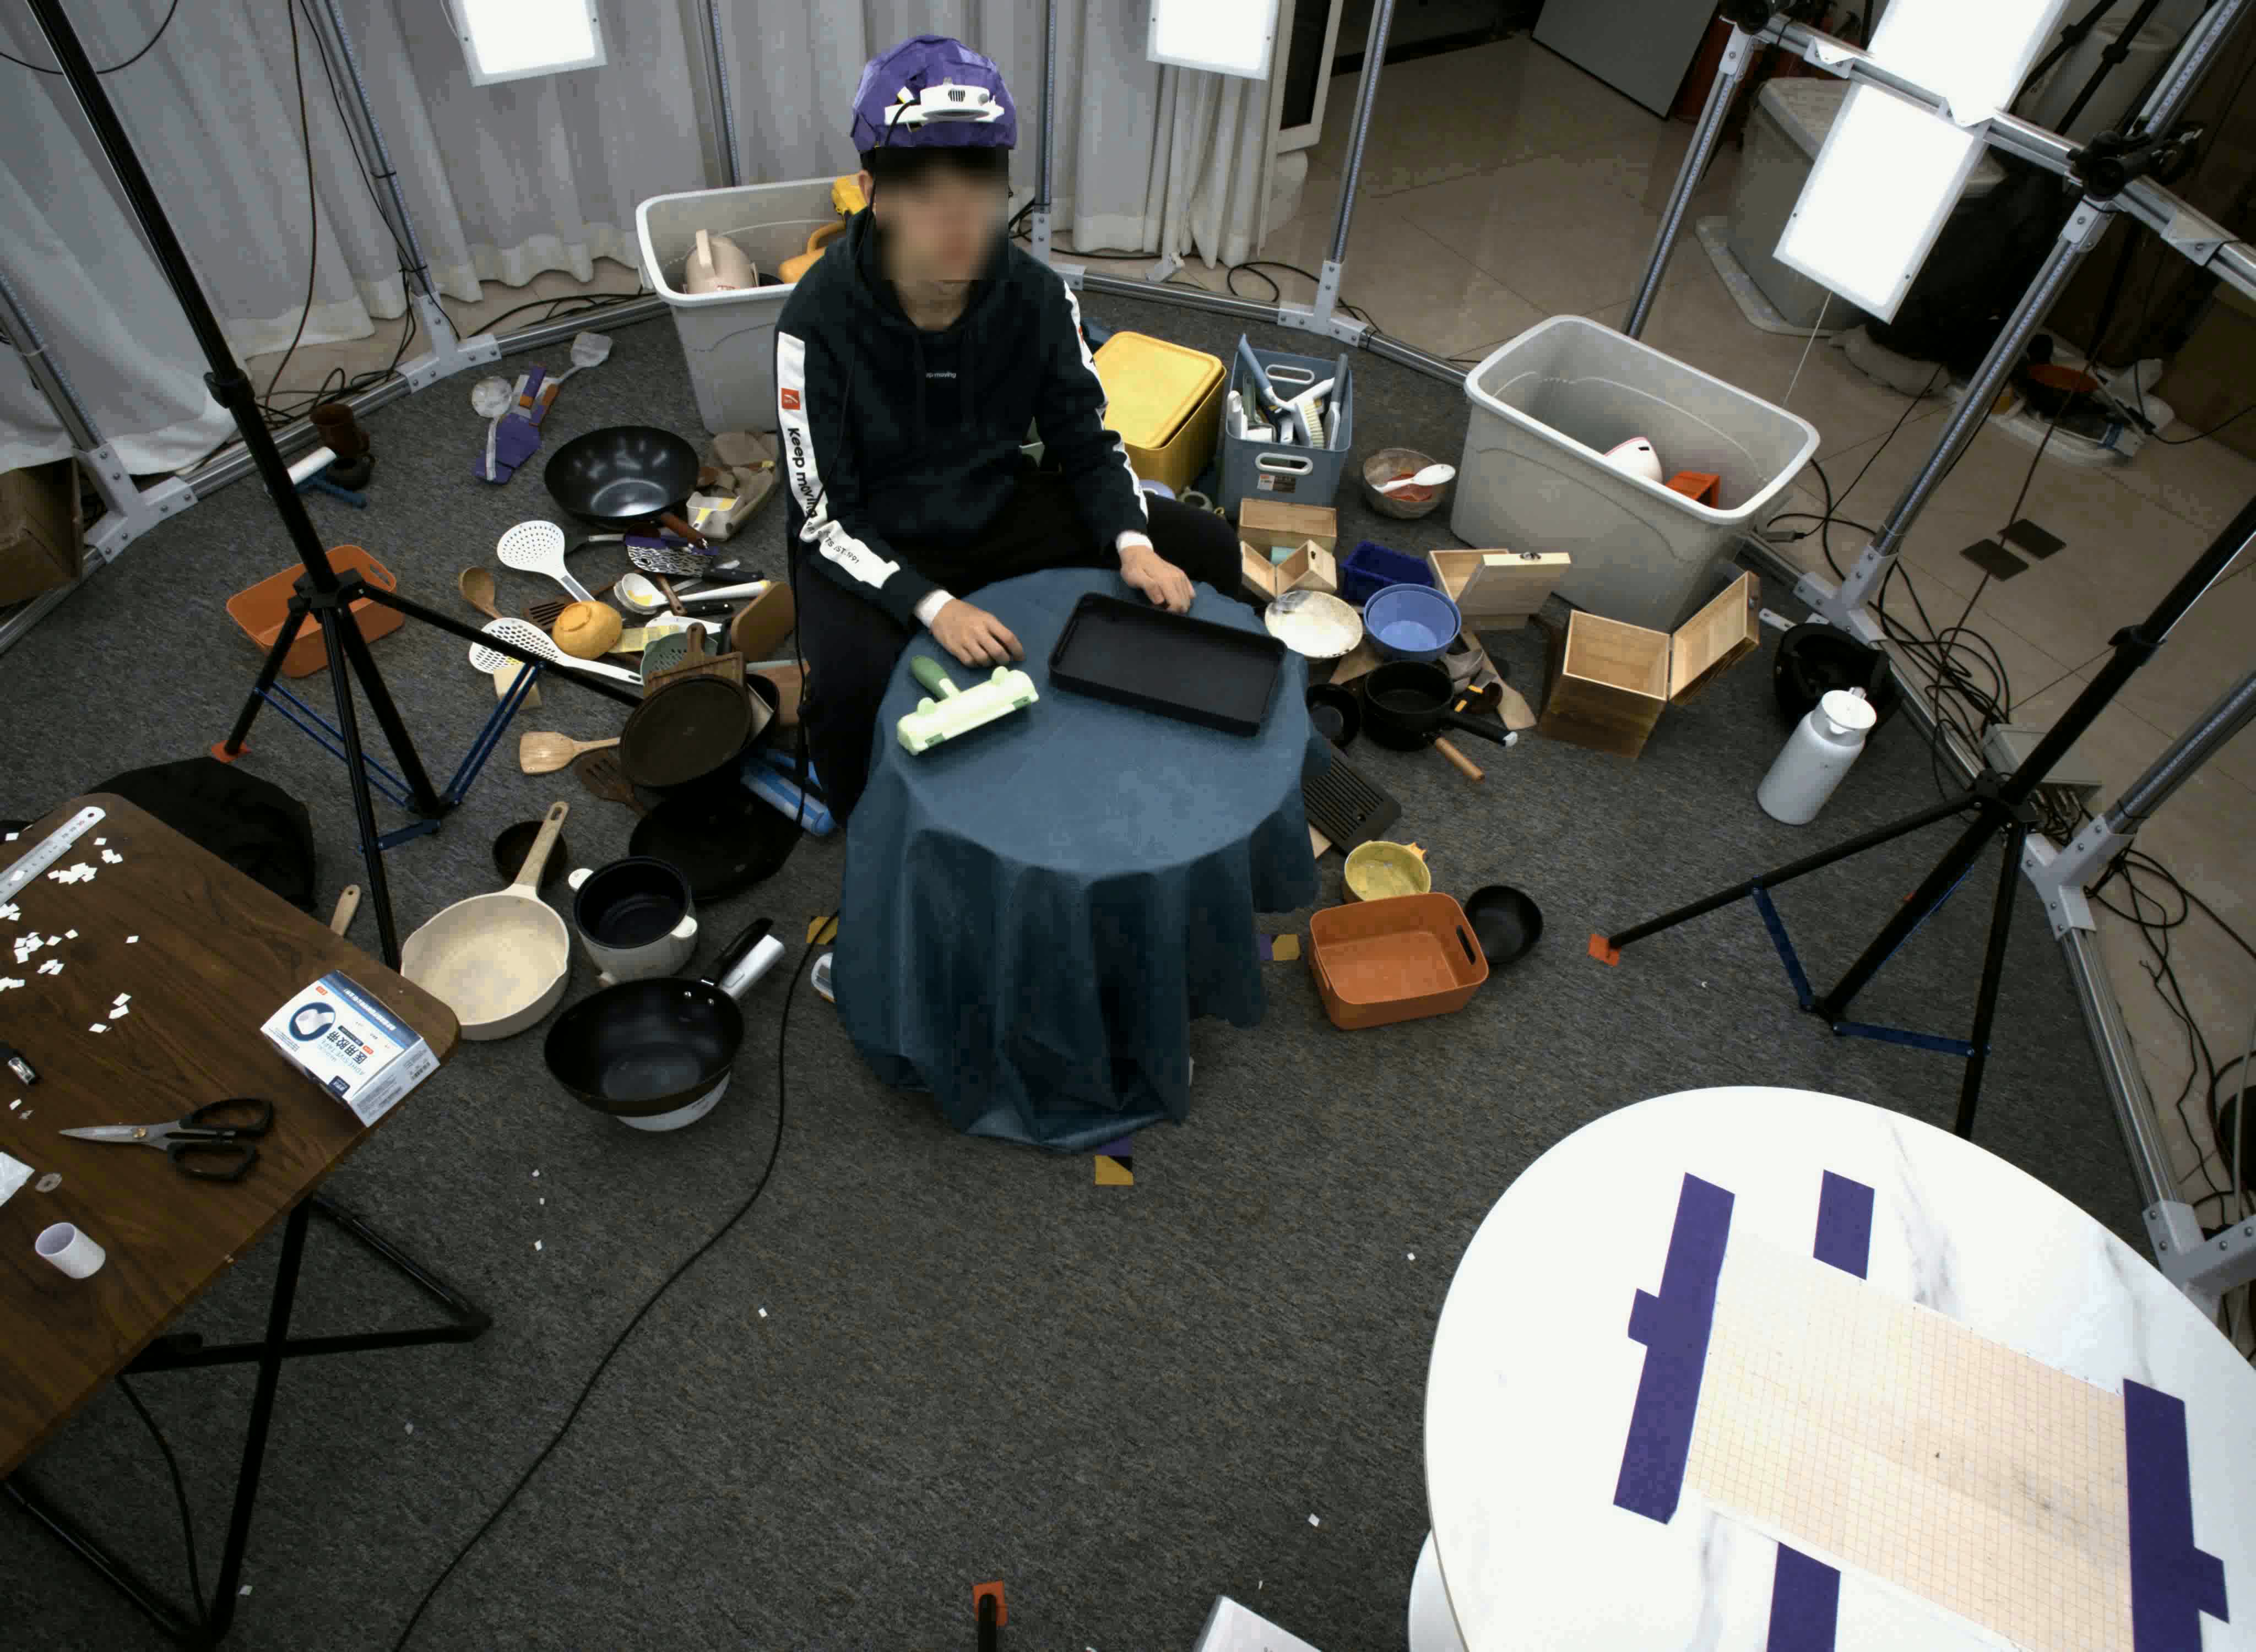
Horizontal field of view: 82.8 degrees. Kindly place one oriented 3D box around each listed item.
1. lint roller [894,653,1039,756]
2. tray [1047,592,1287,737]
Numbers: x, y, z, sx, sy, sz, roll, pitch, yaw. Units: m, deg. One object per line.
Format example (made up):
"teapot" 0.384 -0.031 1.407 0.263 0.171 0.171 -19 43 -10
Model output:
"lint roller" -0.250 -0.198 1.772 0.199 0.080 0.187 -26 59 -24
"tray" 0.057 -0.236 1.853 0.319 0.036 0.188 16 50 10
